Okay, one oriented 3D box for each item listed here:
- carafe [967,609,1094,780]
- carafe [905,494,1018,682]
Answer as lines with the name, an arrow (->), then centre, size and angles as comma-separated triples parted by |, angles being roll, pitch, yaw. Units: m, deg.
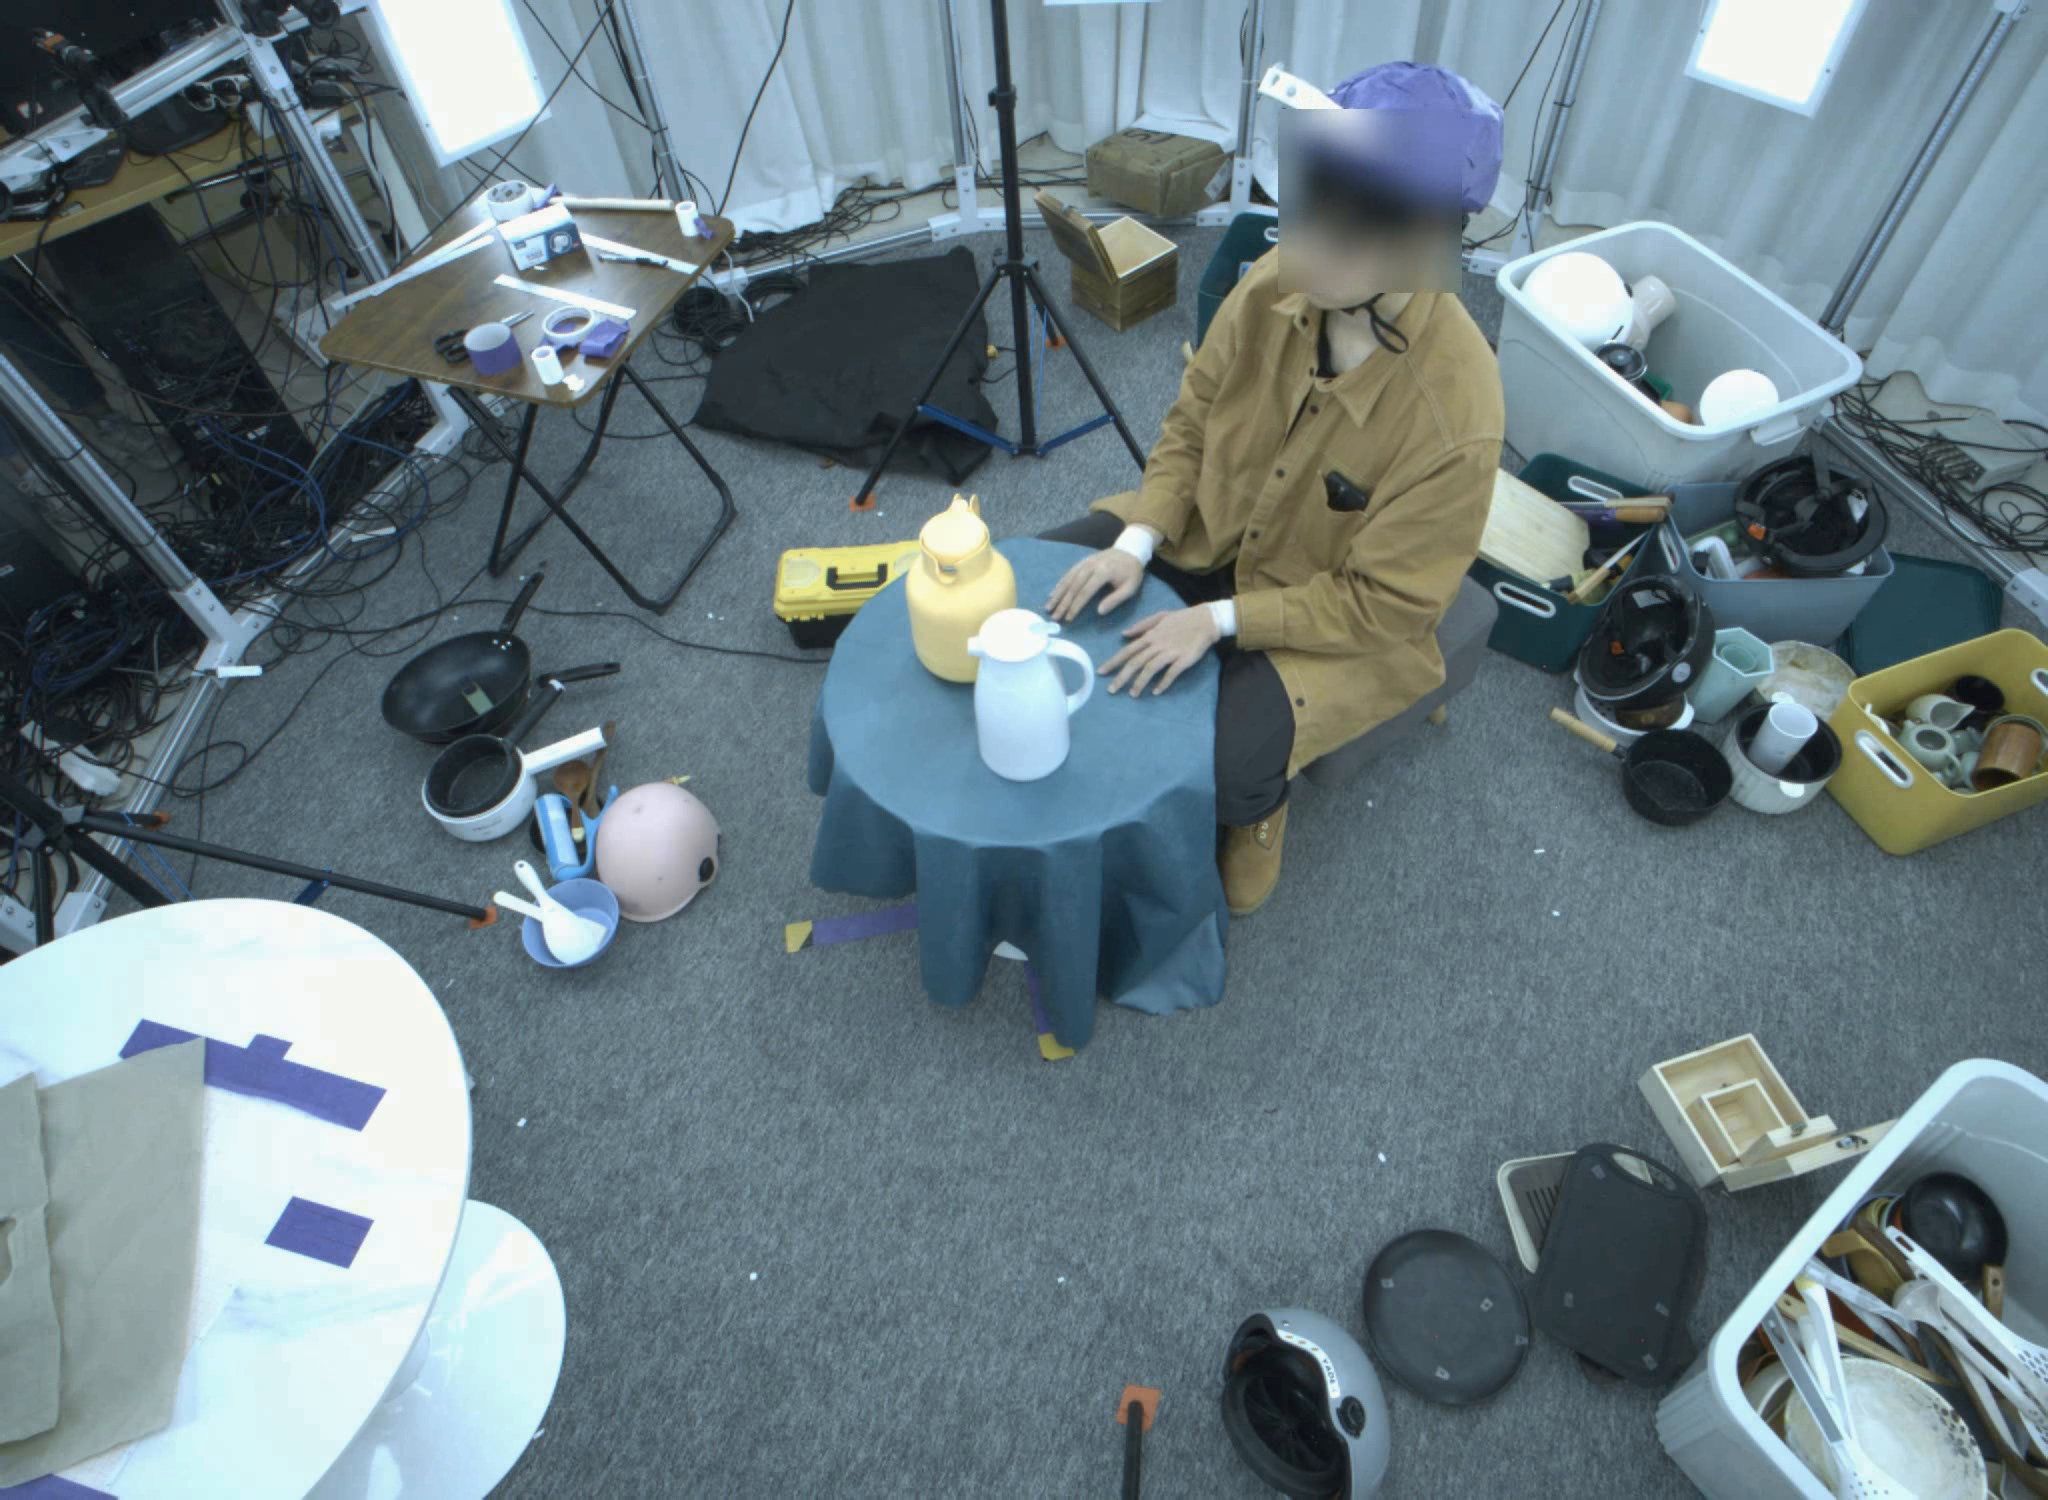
carafe -> 0.012, -0.083, 1.689 | 0.168, 0.251, 0.131 | -4, 54, 0
carafe -> -0.088, -0.245, 1.801 | 0.163, 0.263, 0.201 | 7, 56, 6
